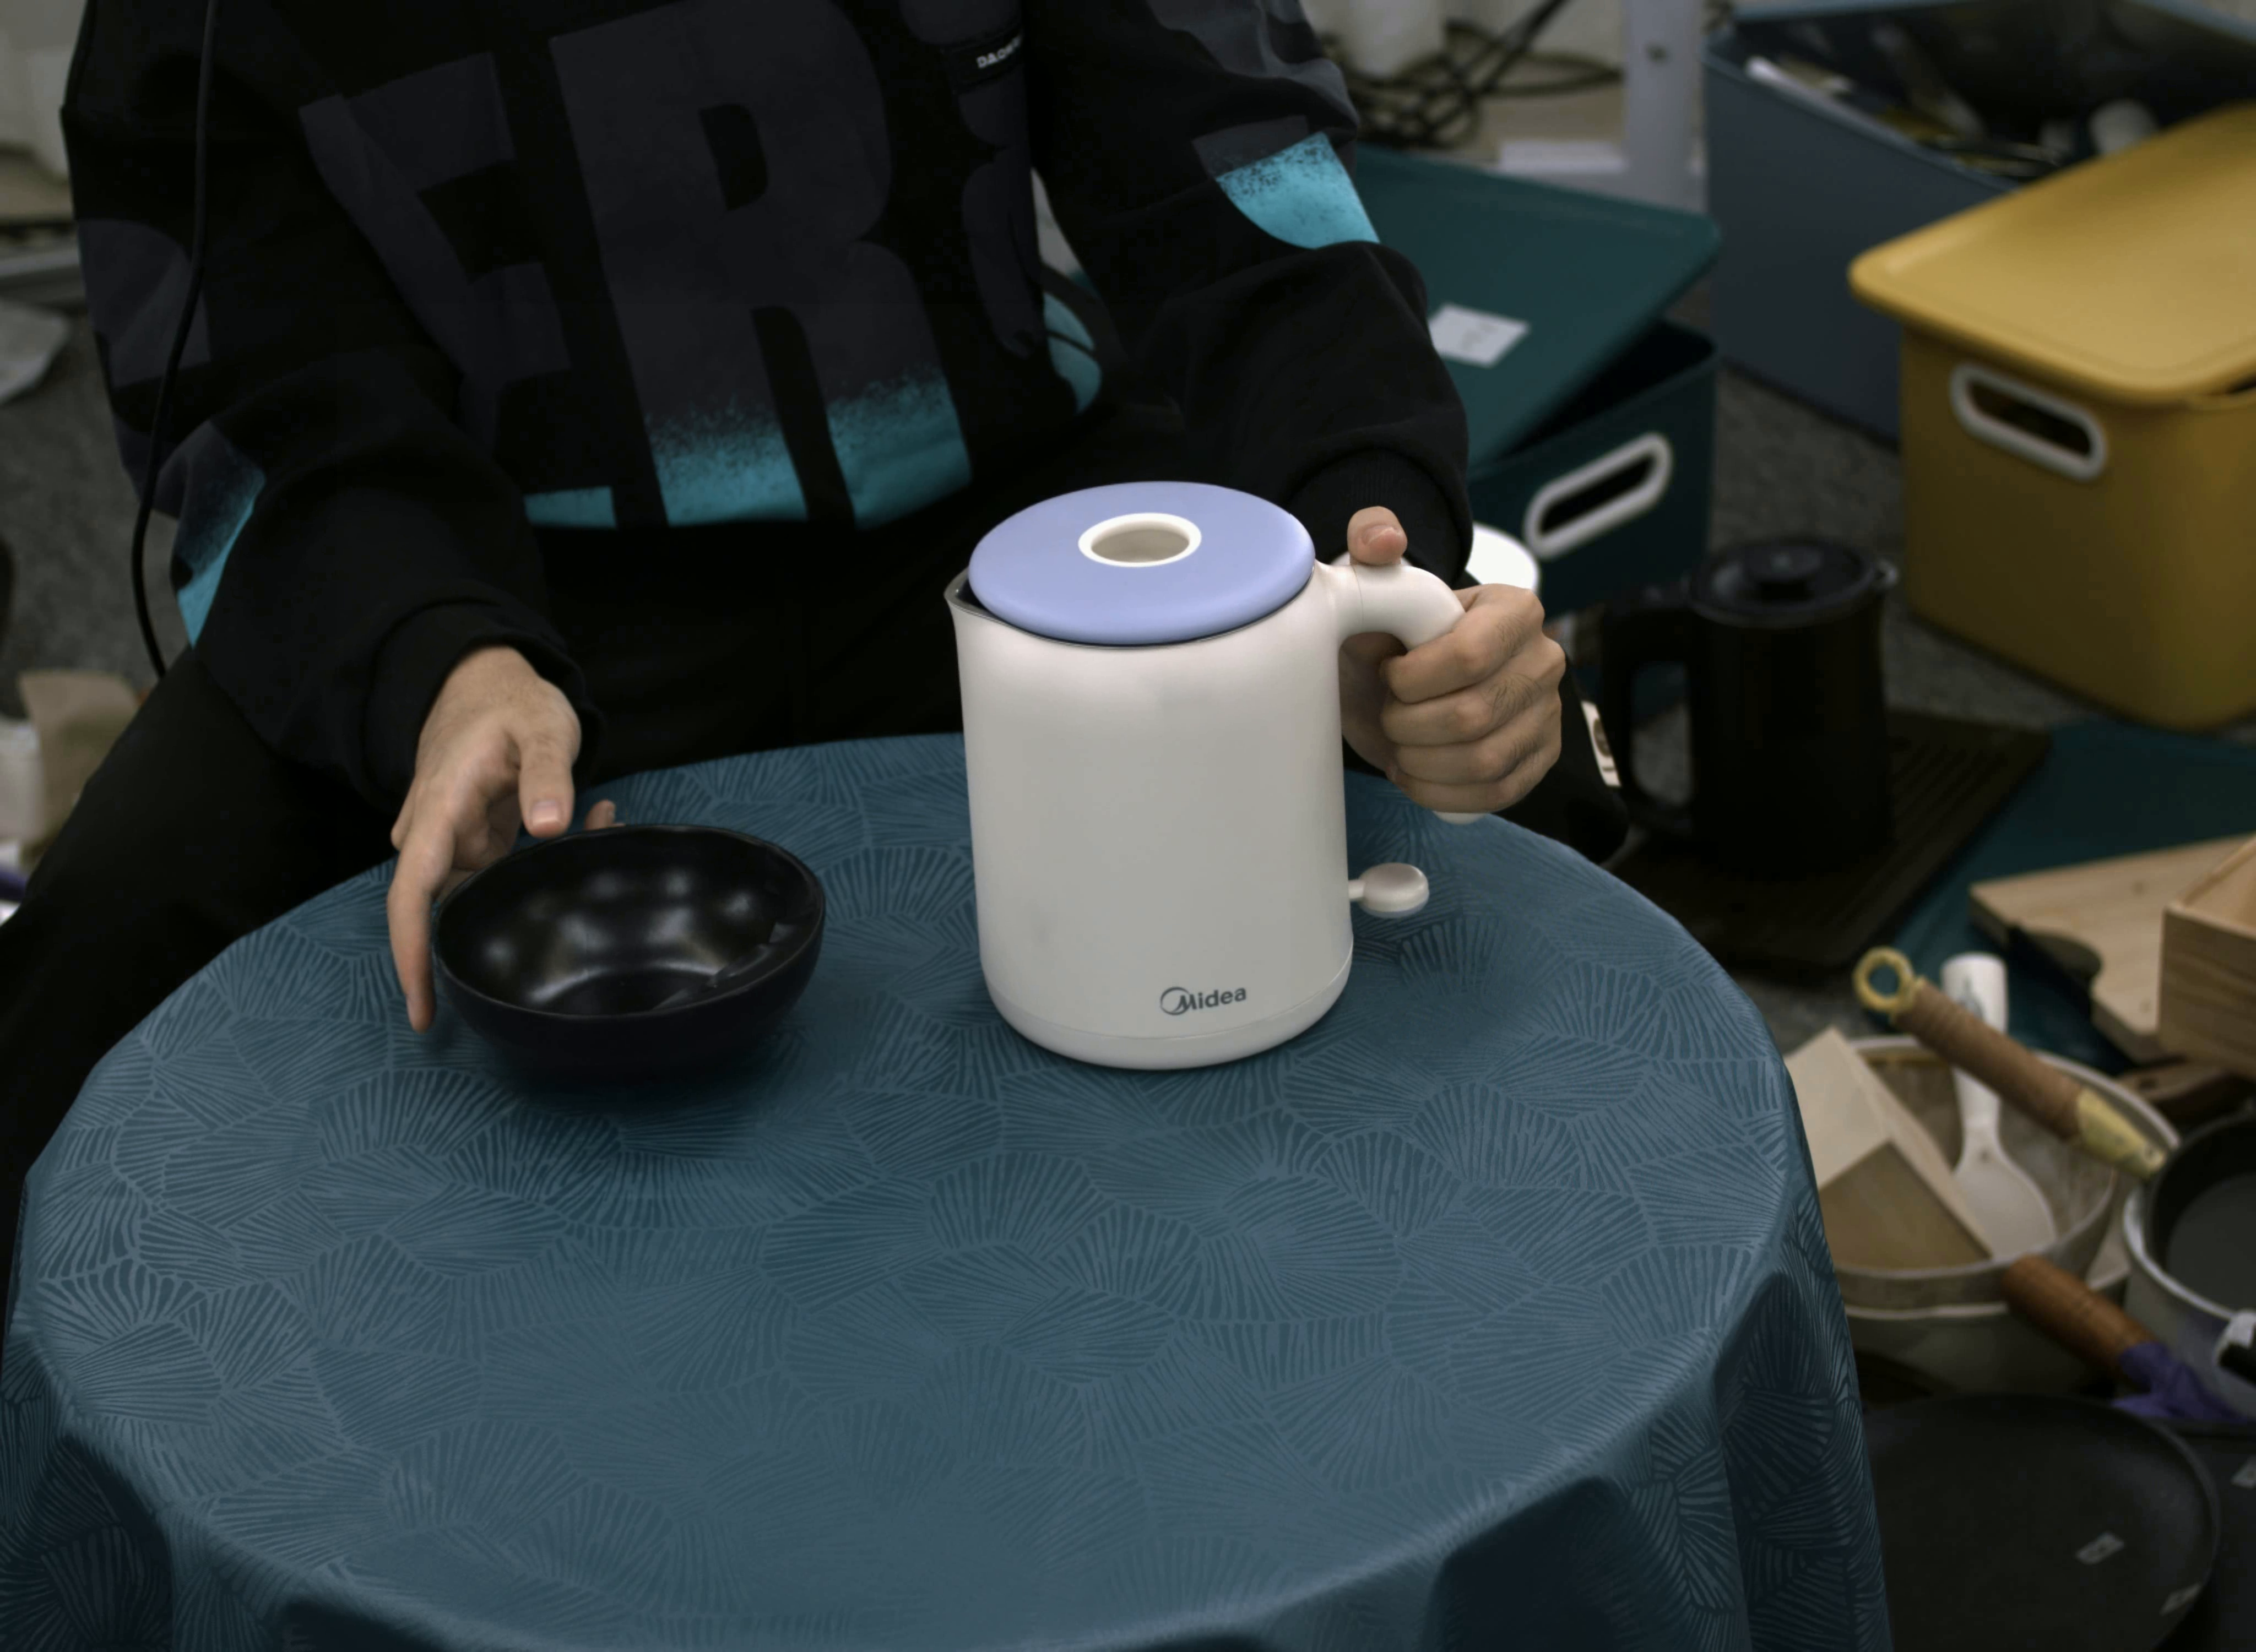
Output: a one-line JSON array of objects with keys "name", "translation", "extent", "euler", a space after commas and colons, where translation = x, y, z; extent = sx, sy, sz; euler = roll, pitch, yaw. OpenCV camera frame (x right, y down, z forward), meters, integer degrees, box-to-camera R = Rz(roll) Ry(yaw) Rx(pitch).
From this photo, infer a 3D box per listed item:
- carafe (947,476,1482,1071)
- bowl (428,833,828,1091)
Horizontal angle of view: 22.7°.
[{"name": "carafe", "translation": [0.032, -0.022, 1.950], "extent": [0.191, 0.180, 0.134], "euler": [-7, 28, -12]}, {"name": "bowl", "translation": [-0.172, 0.054, 1.954], "extent": [0.139, 0.049, 0.142], "euler": [-3, 25, 2]}]
